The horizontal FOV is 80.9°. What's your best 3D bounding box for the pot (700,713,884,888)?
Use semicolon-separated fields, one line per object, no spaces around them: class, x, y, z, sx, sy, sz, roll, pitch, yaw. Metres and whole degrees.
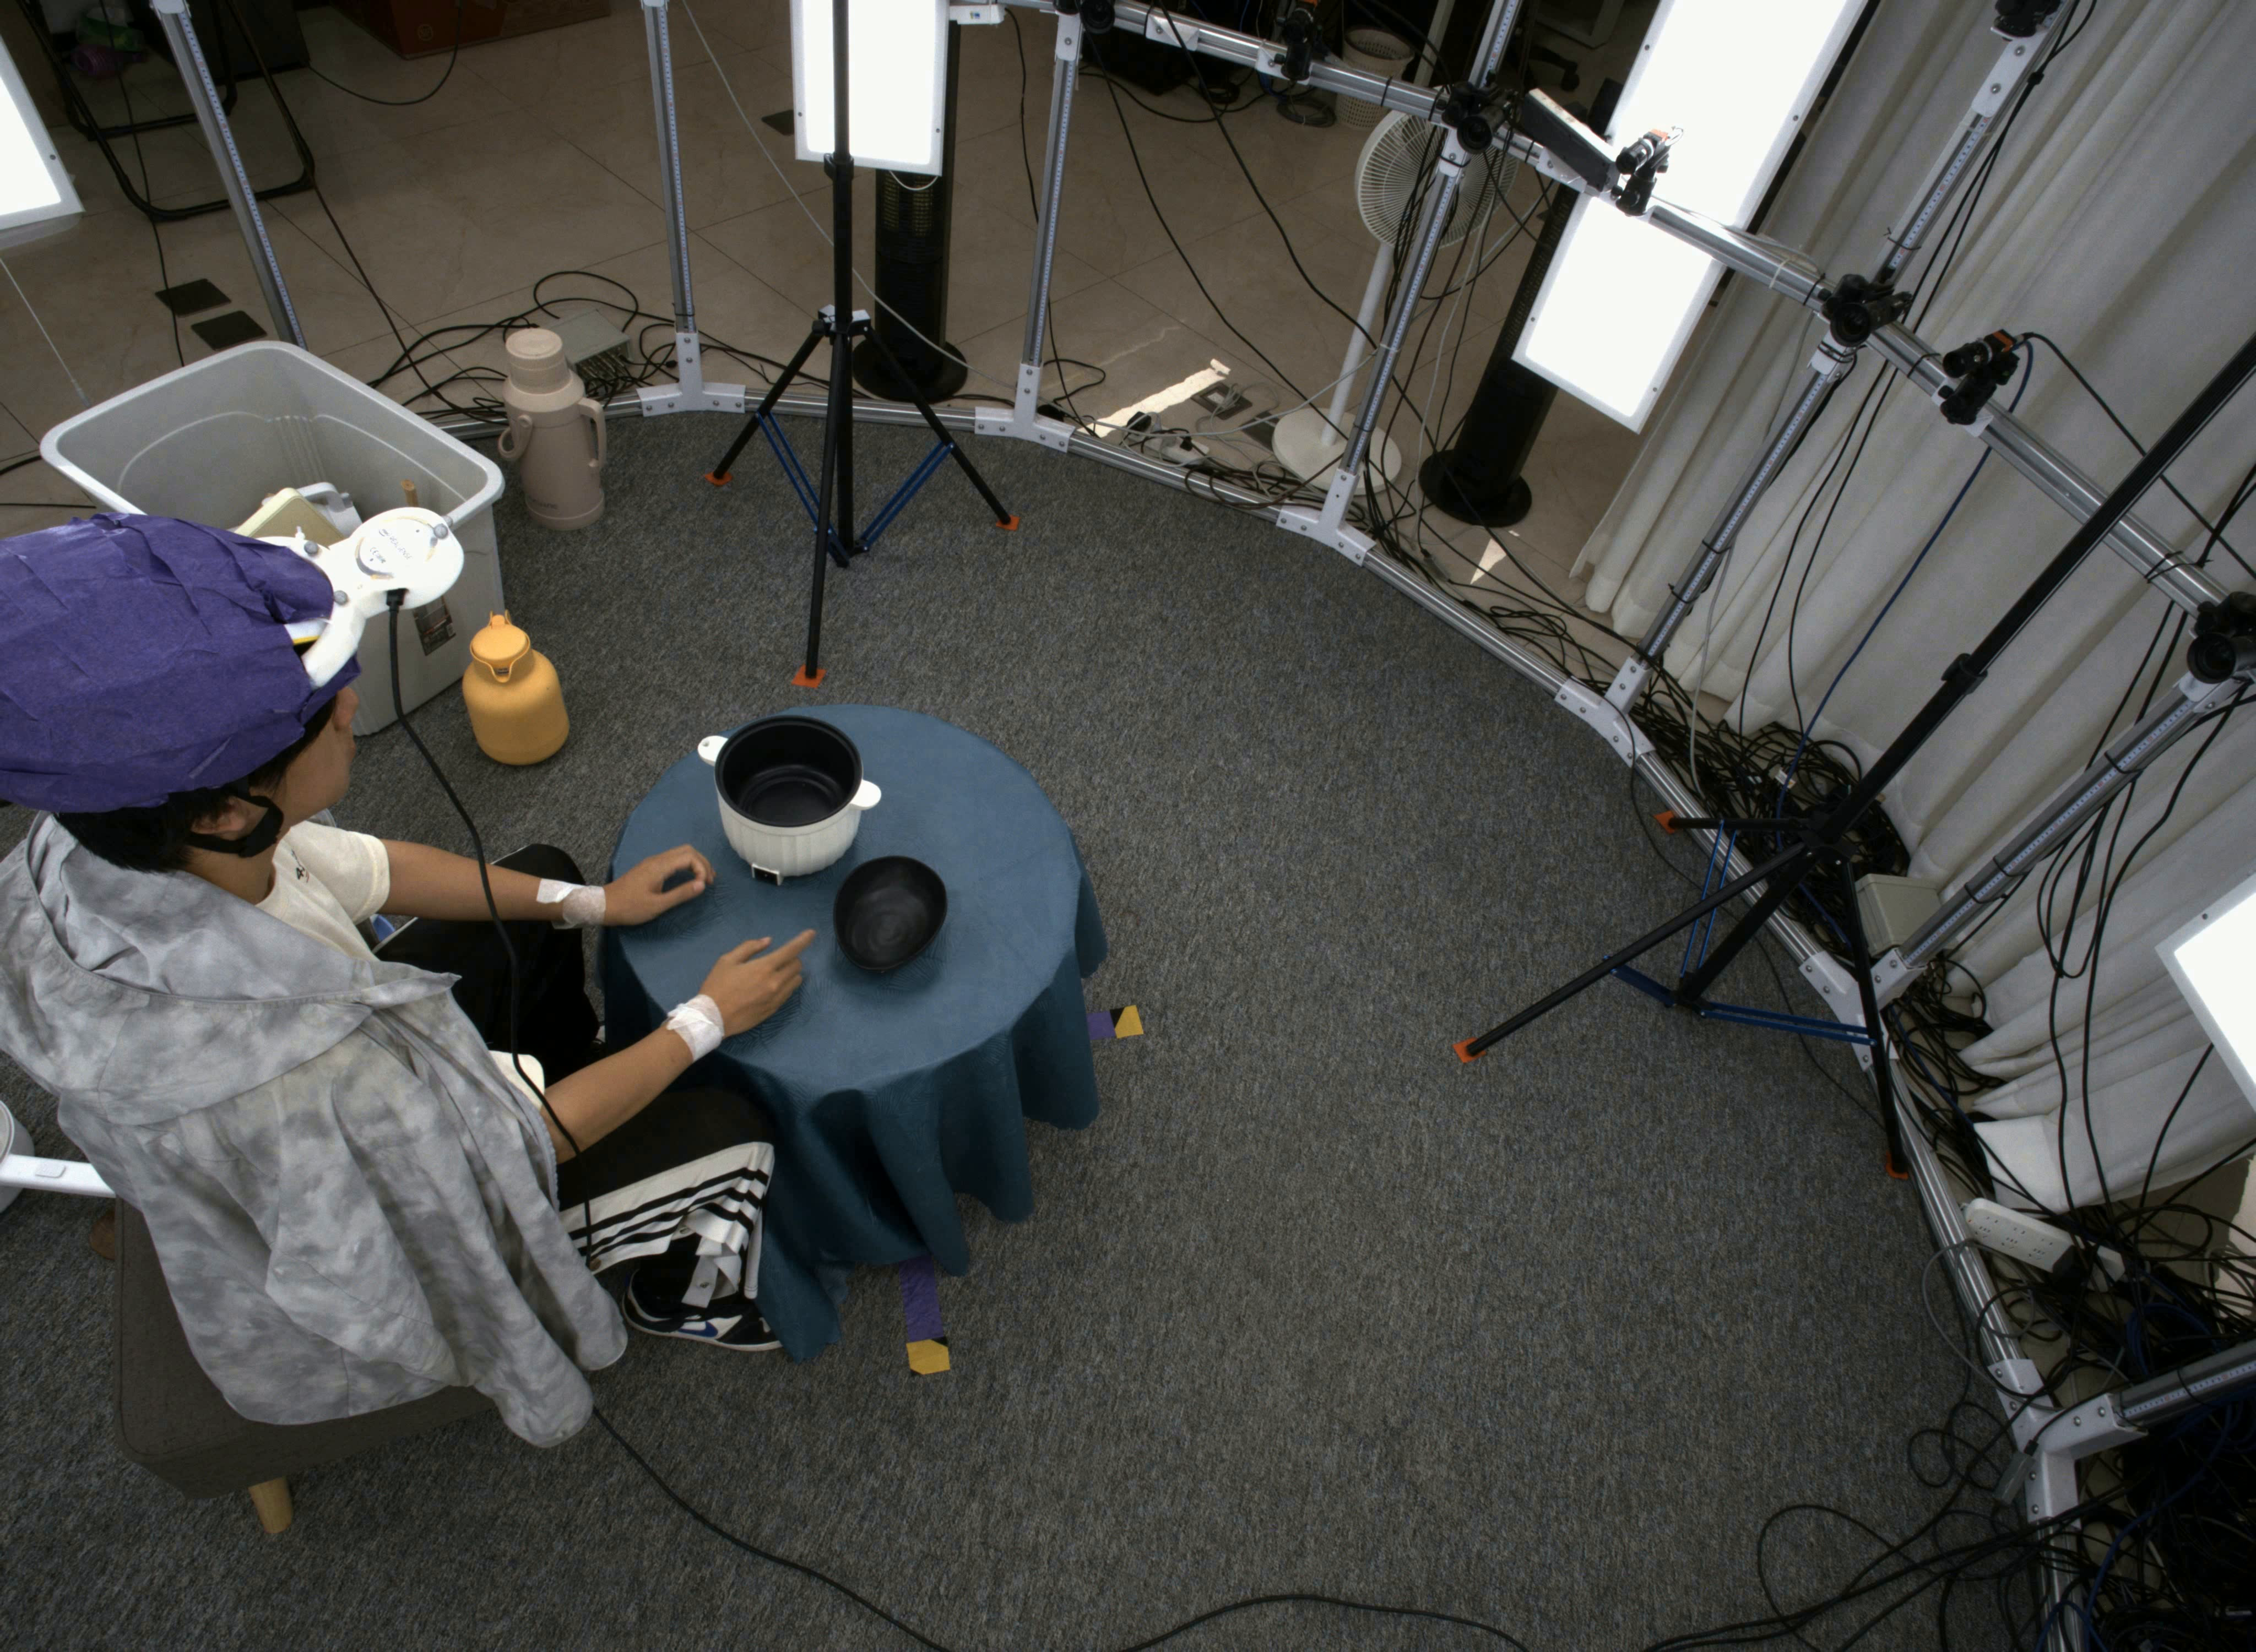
pot;-0.426;-0.036;1.663;0.238;0.145;0.188;17;55;-1

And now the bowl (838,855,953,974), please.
bowl;-0.291;0.118;1.629;0.136;0.068;0.168;16;53;-1
